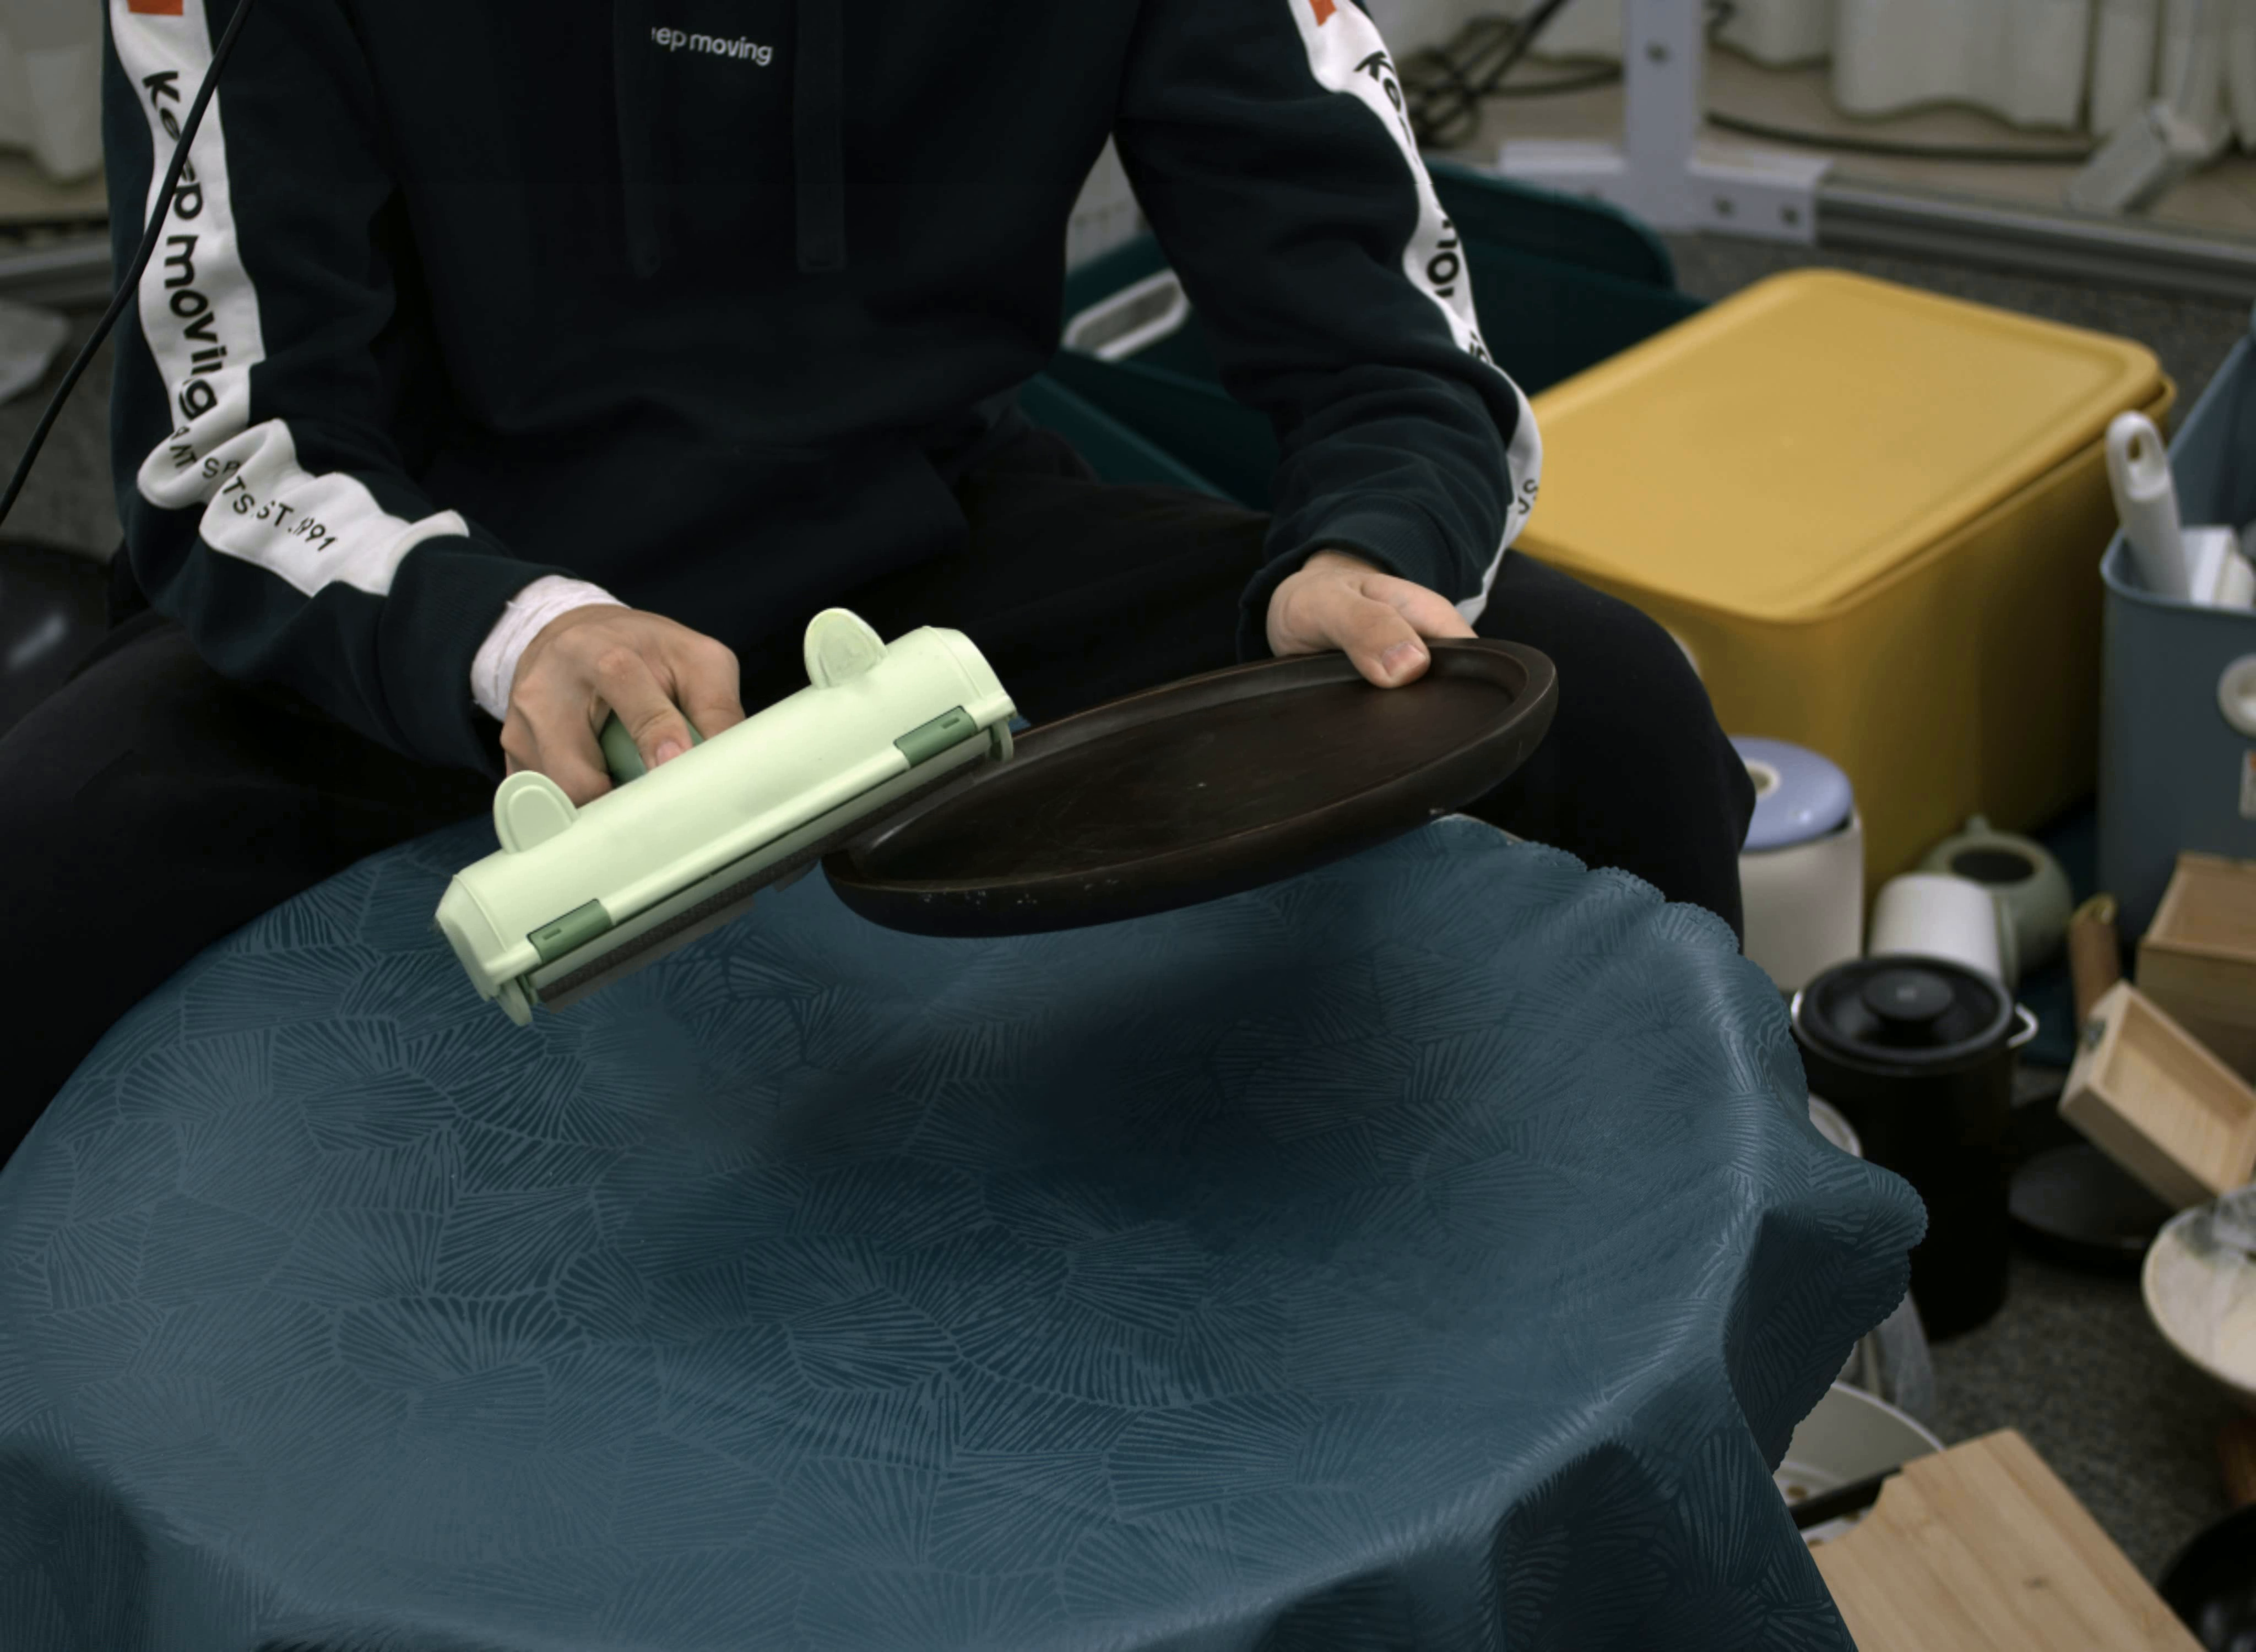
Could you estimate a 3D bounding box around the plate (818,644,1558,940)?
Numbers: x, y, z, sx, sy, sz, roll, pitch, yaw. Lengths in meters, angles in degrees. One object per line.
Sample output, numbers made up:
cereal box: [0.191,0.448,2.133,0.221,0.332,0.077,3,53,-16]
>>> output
plate: [0.021,-0.013,1.861,0.253,0.029,0.257,-15,13,4]

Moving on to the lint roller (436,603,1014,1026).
lint roller: [-0.156,-0.029,1.880,0.199,0.081,0.184,-29,33,-14]
